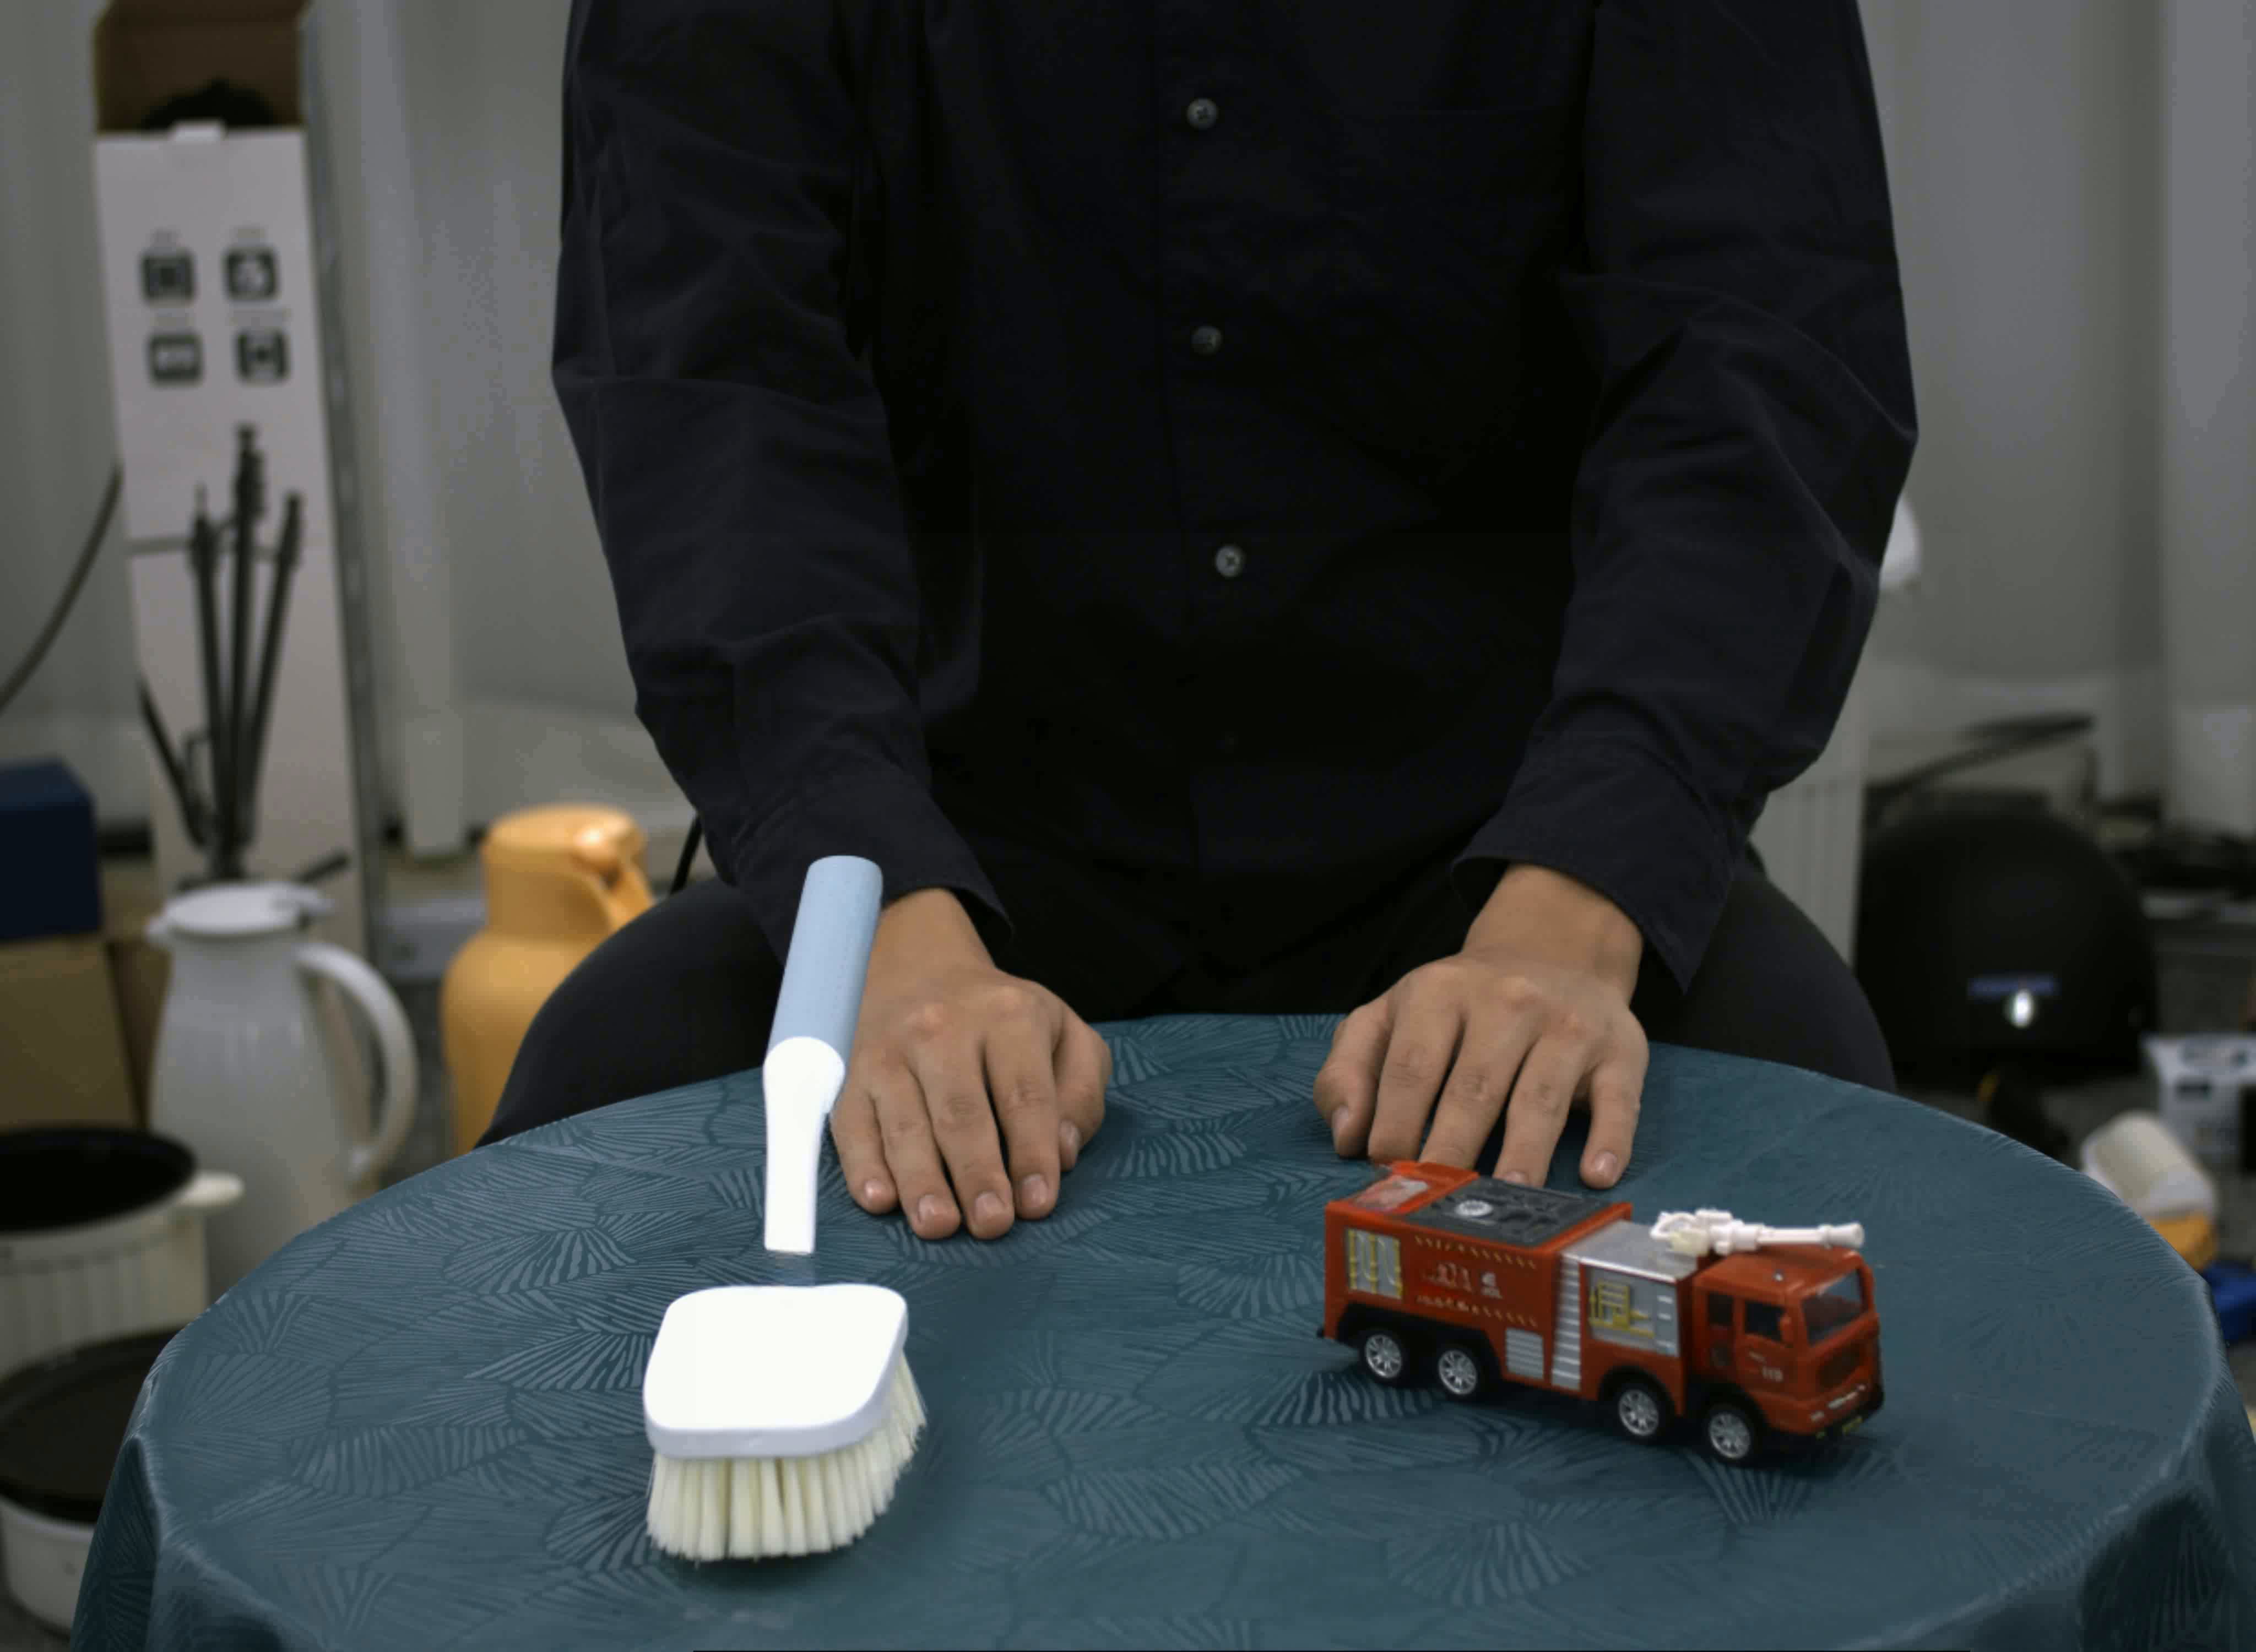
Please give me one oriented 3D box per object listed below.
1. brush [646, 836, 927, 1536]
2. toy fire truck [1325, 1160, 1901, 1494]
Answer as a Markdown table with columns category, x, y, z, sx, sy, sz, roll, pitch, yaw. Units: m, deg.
| category | x | y | z | sx | sy | sz | roll | pitch | yaw |
| --- | --- | --- | --- | --- | --- | --- | --- | --- | --- |
| brush | -0.086 | 0.114 | 1.576 | 0.082 | 0.084 | 0.329 | 31 | 25 | -12 |
| toy fire truck | 0.133 | 0.134 | 1.505 | 0.168 | 0.070 | 0.054 | 7 | 15 | 36 |
